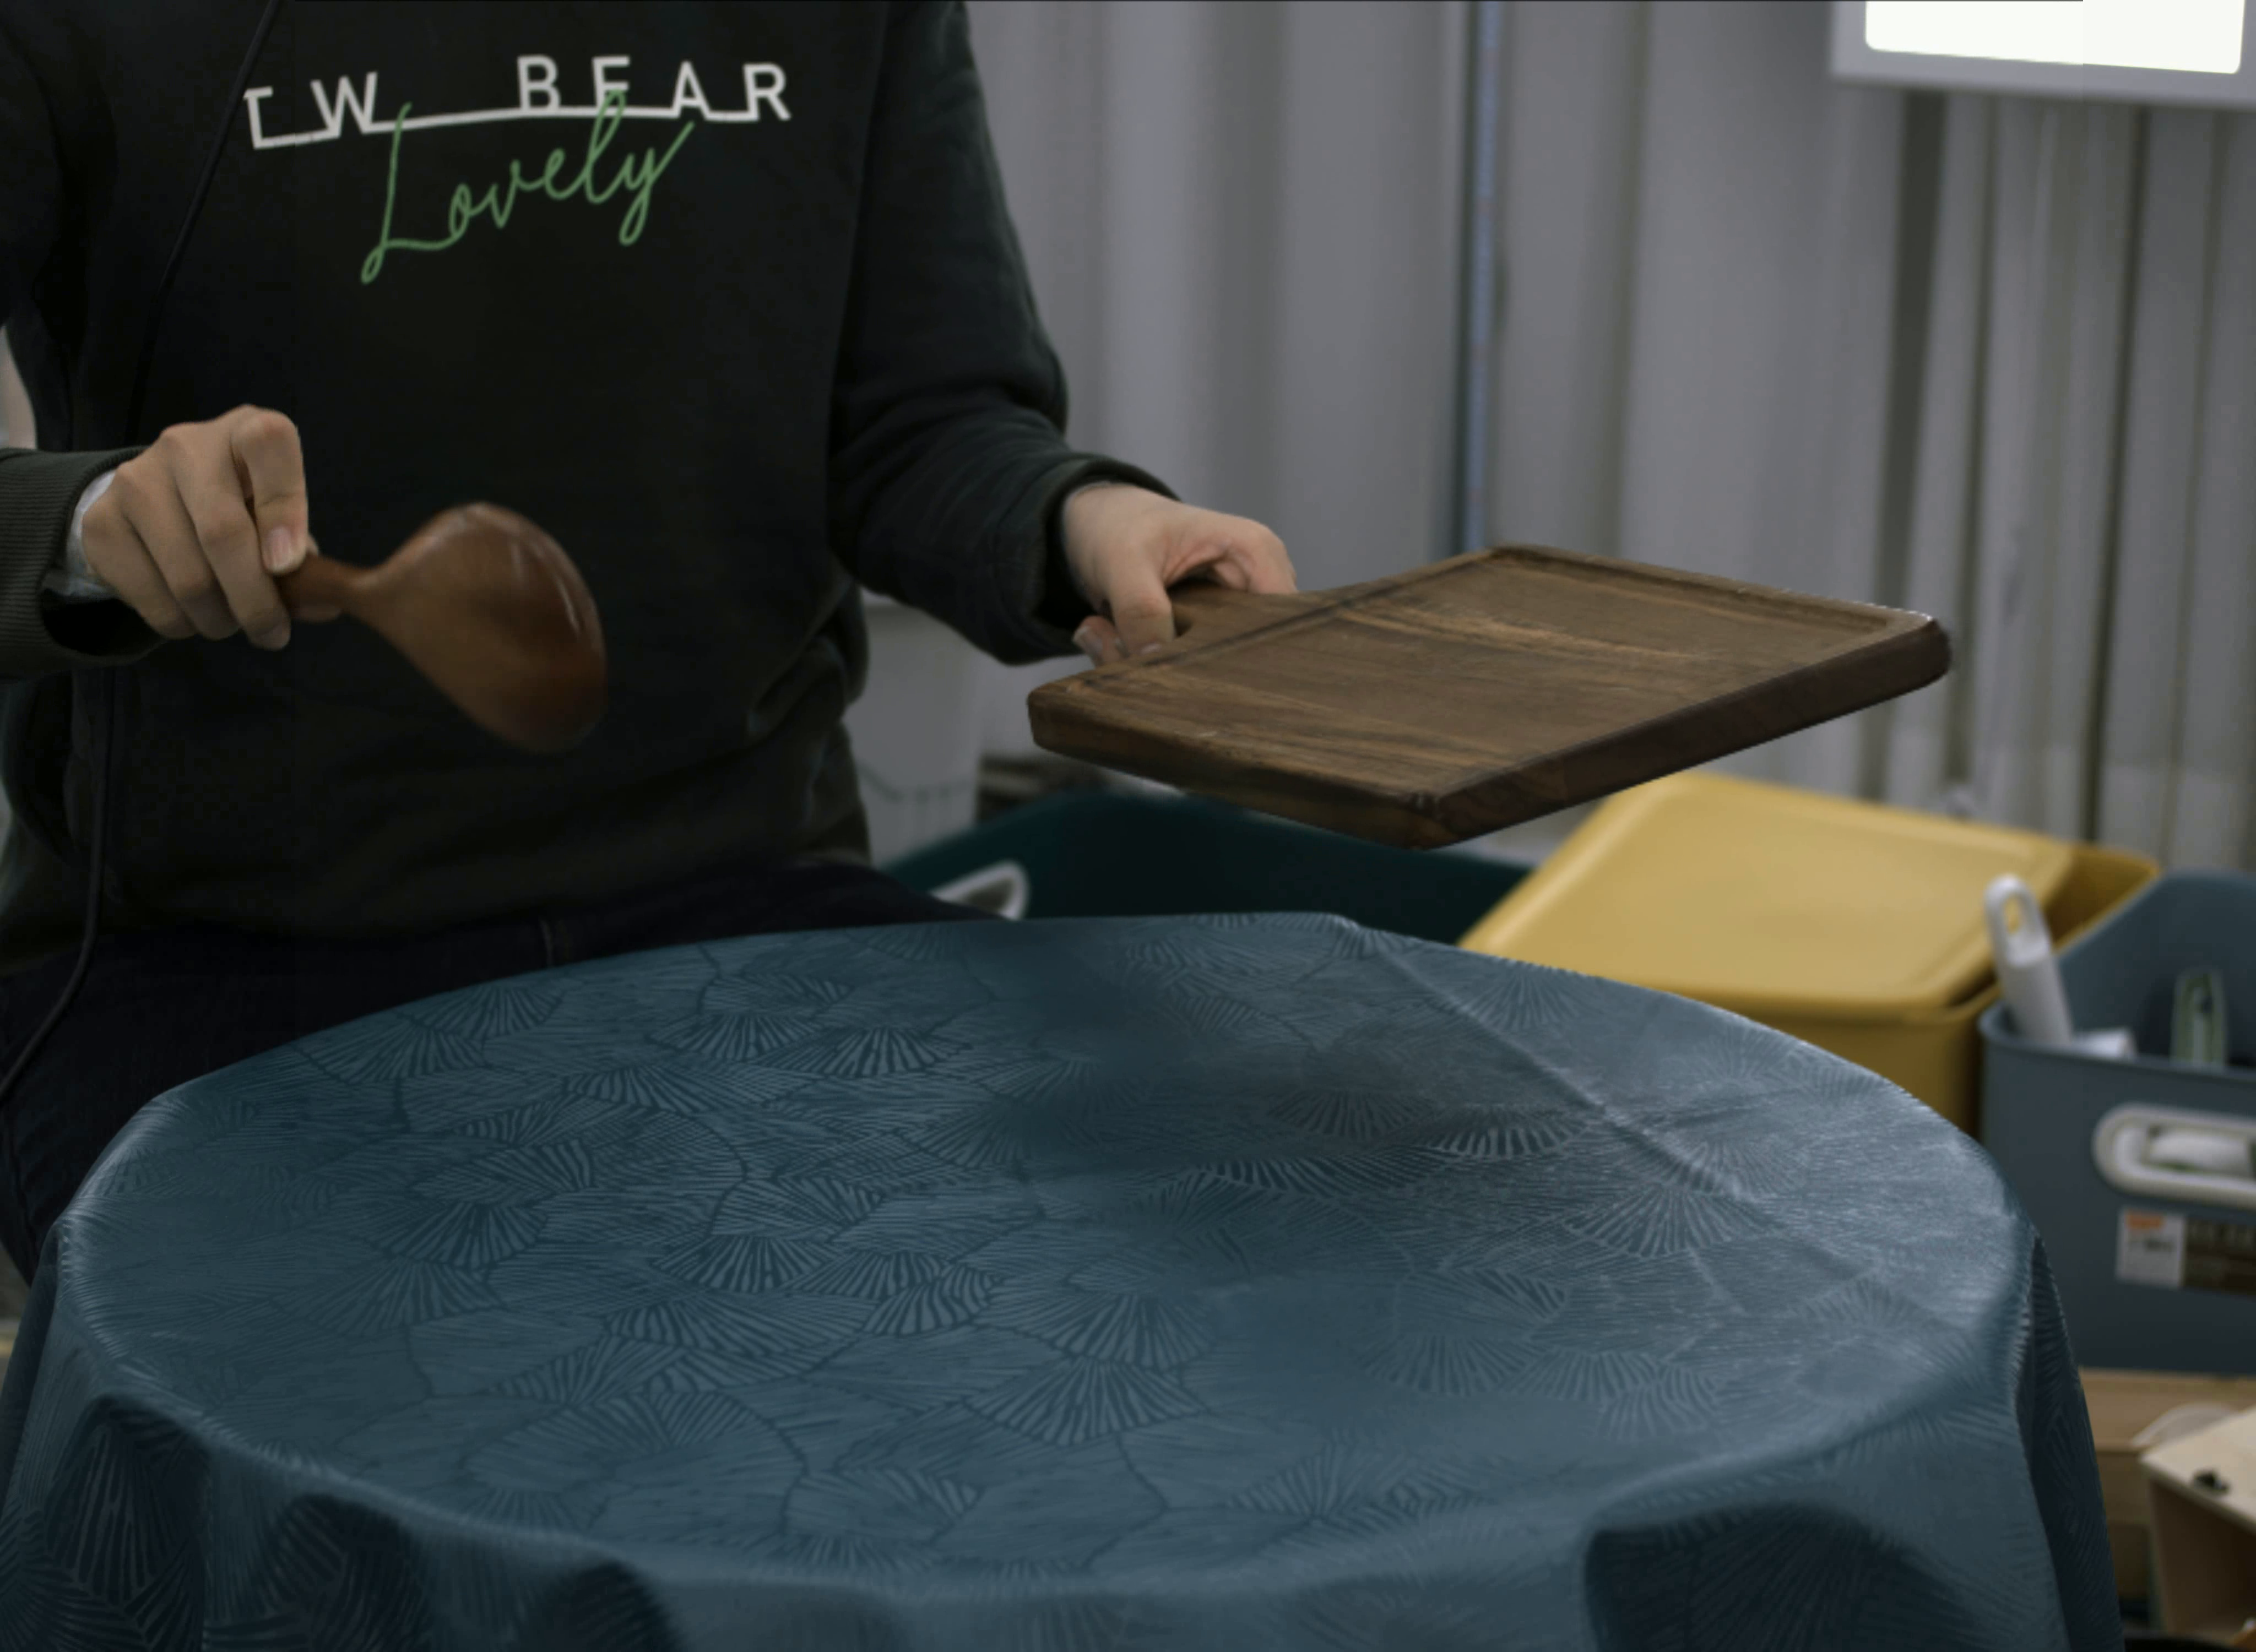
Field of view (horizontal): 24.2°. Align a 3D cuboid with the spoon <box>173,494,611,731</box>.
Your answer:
[{"bbox_3d":[-0.223,-0.070,1.559,0.017,0.076,0.213,-32,30,-33],"label":"spoon"}]

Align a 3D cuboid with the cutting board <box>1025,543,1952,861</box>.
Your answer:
[{"bbox_3d":[0.085,-0.050,1.696,0.201,0.023,0.348,-19,17,-25],"label":"cutting board"}]
